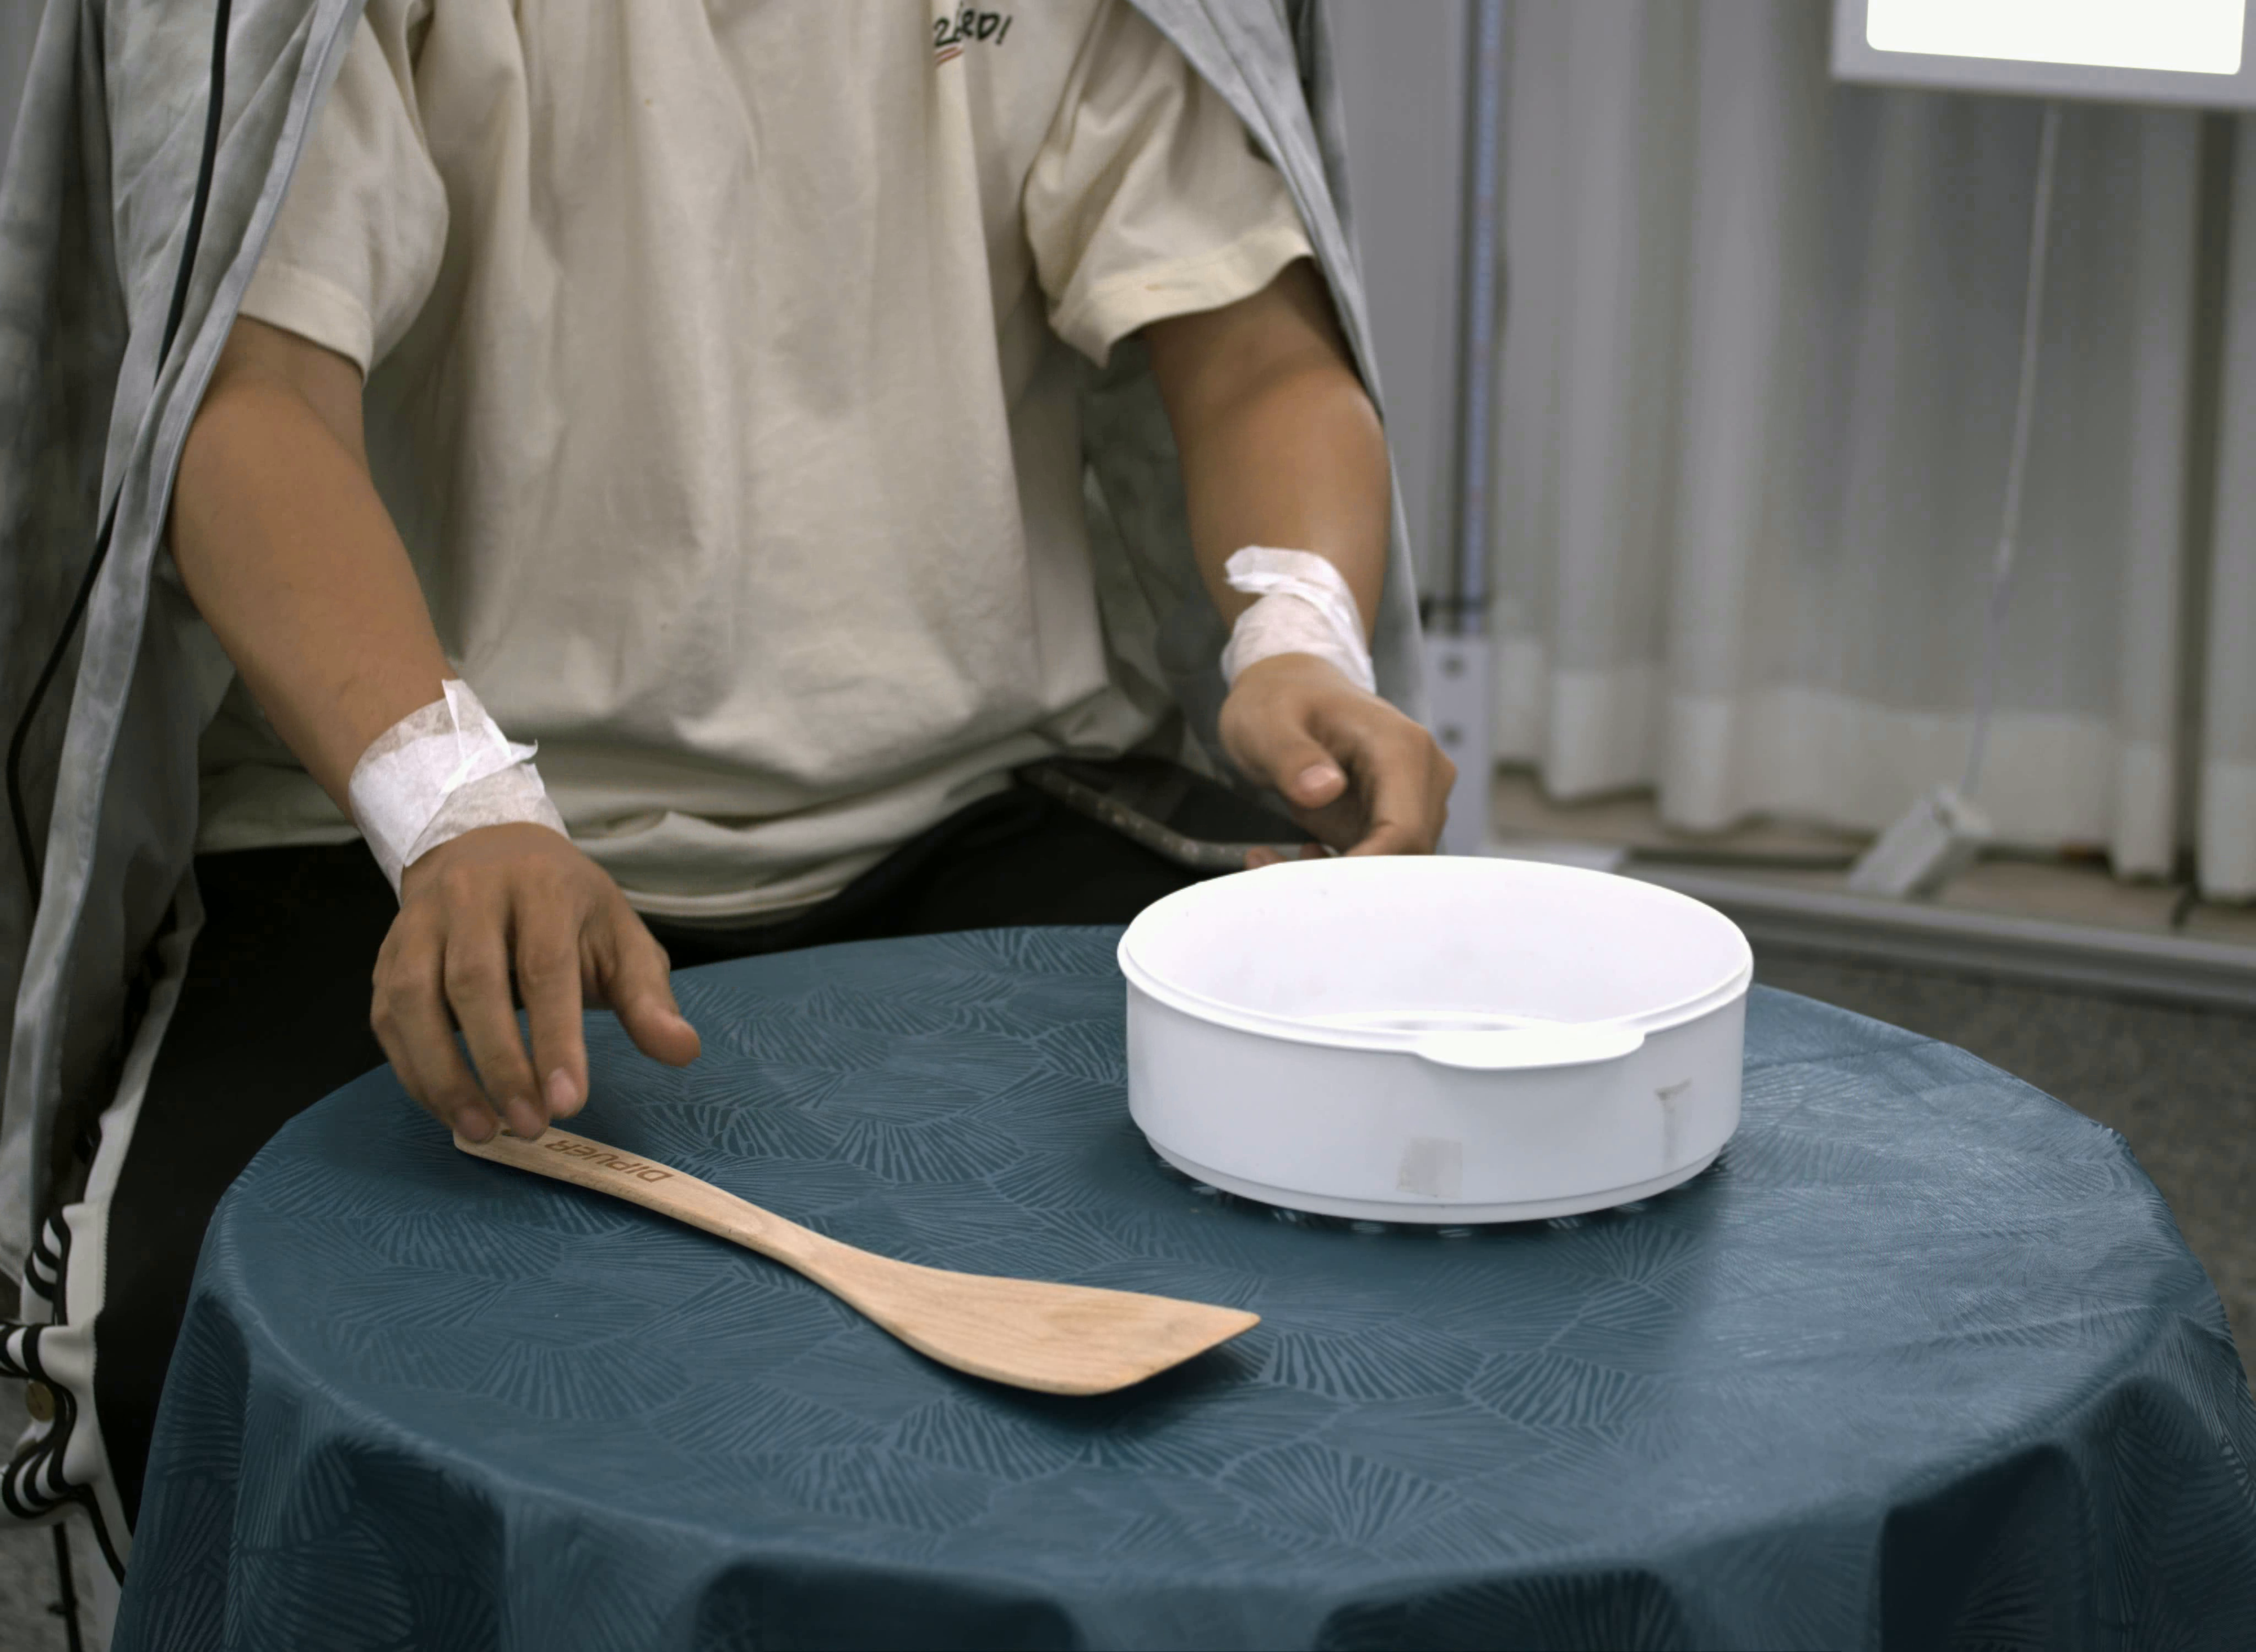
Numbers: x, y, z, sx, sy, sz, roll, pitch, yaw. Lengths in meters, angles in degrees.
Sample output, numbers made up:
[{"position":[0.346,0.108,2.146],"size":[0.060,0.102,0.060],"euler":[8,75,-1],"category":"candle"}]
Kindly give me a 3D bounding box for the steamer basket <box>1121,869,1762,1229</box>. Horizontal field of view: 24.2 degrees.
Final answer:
[{"position":[0.098,0.070,1.661],"size":[0.202,0.070,0.228],"euler":[-2,15,-14],"category":"steamer basket"}]

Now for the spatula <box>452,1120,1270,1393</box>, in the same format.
[{"position":[-0.091,0.122,1.555],"size":[0.323,0.016,0.080],"euler":[15,20,42],"category":"spatula"}]
